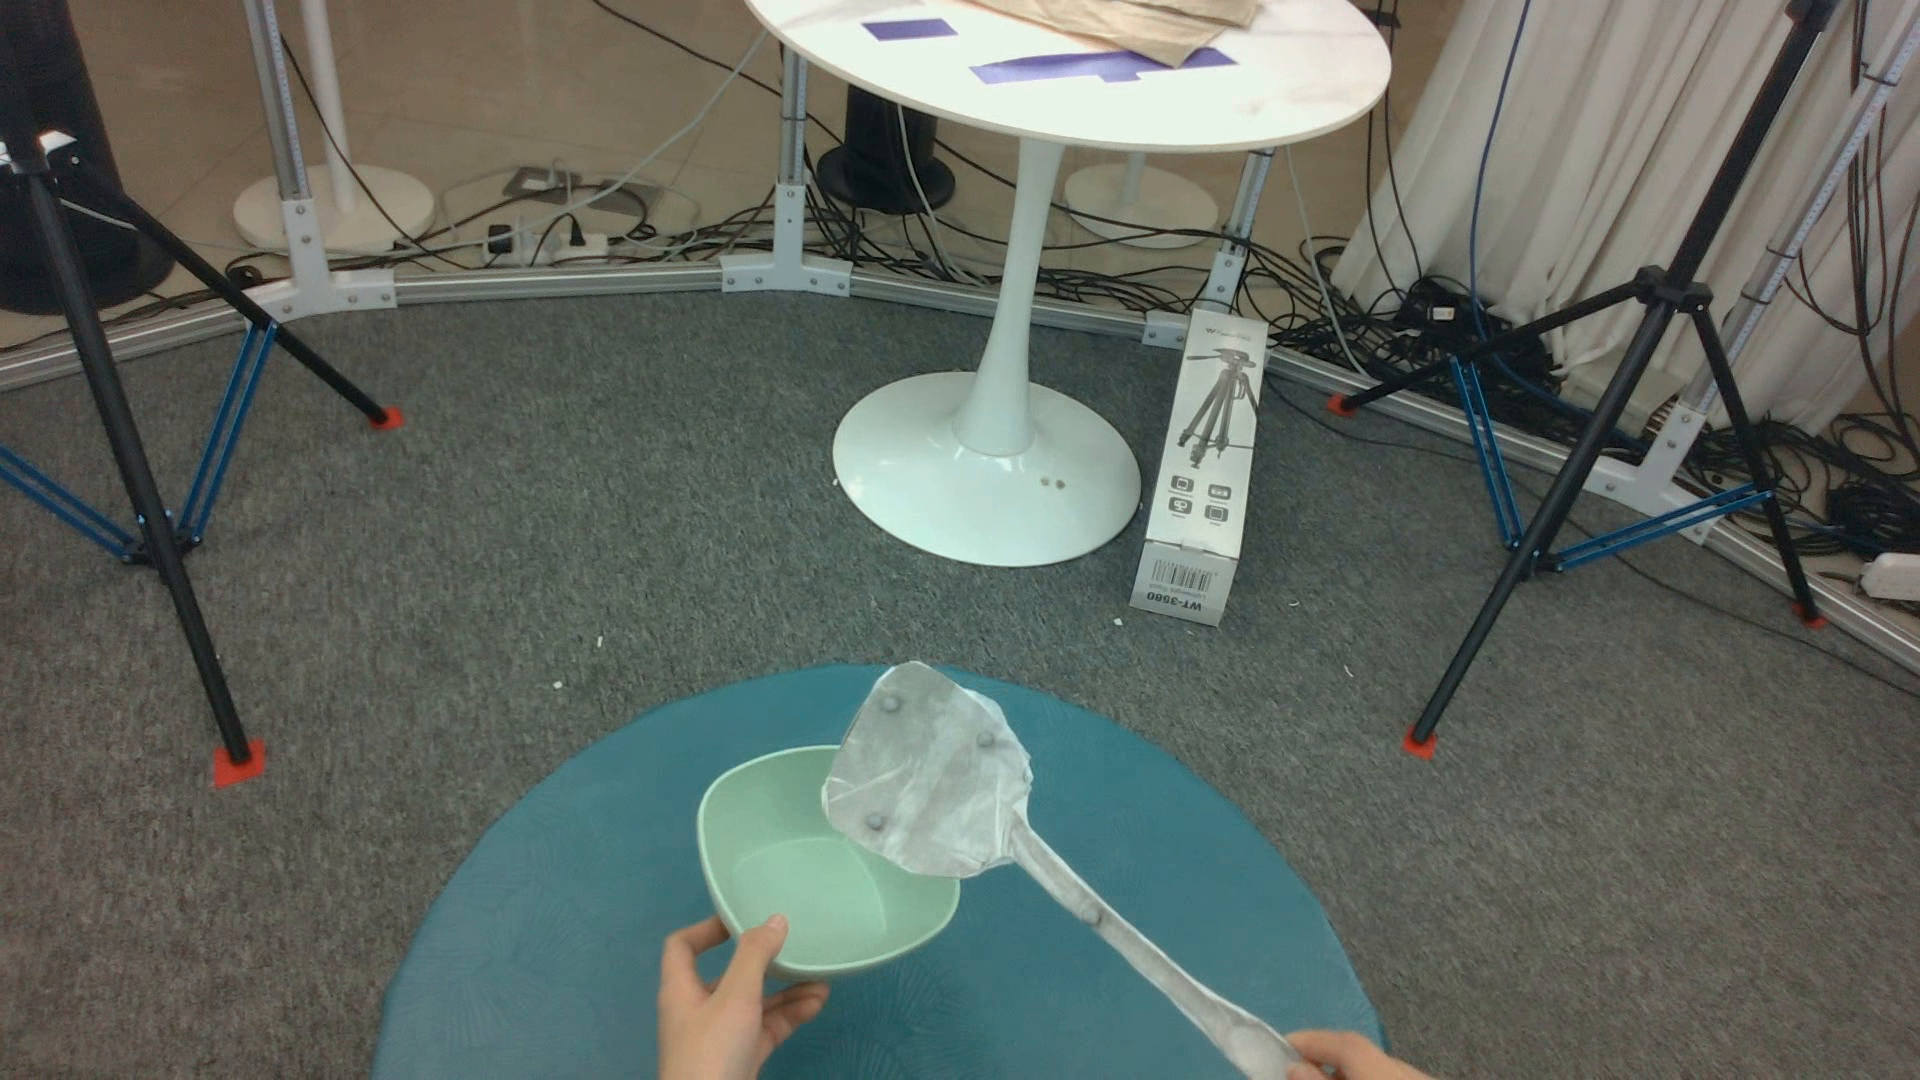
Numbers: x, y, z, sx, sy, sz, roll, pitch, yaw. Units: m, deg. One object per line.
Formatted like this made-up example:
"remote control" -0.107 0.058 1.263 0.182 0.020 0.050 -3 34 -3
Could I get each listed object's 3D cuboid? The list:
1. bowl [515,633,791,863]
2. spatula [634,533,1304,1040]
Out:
"bowl" -0.173 0.123 0.762 0.151 0.058 0.152 15 39 -12
"spatula" -0.003 0.115 0.632 0.365 0.098 0.045 30 7 26
